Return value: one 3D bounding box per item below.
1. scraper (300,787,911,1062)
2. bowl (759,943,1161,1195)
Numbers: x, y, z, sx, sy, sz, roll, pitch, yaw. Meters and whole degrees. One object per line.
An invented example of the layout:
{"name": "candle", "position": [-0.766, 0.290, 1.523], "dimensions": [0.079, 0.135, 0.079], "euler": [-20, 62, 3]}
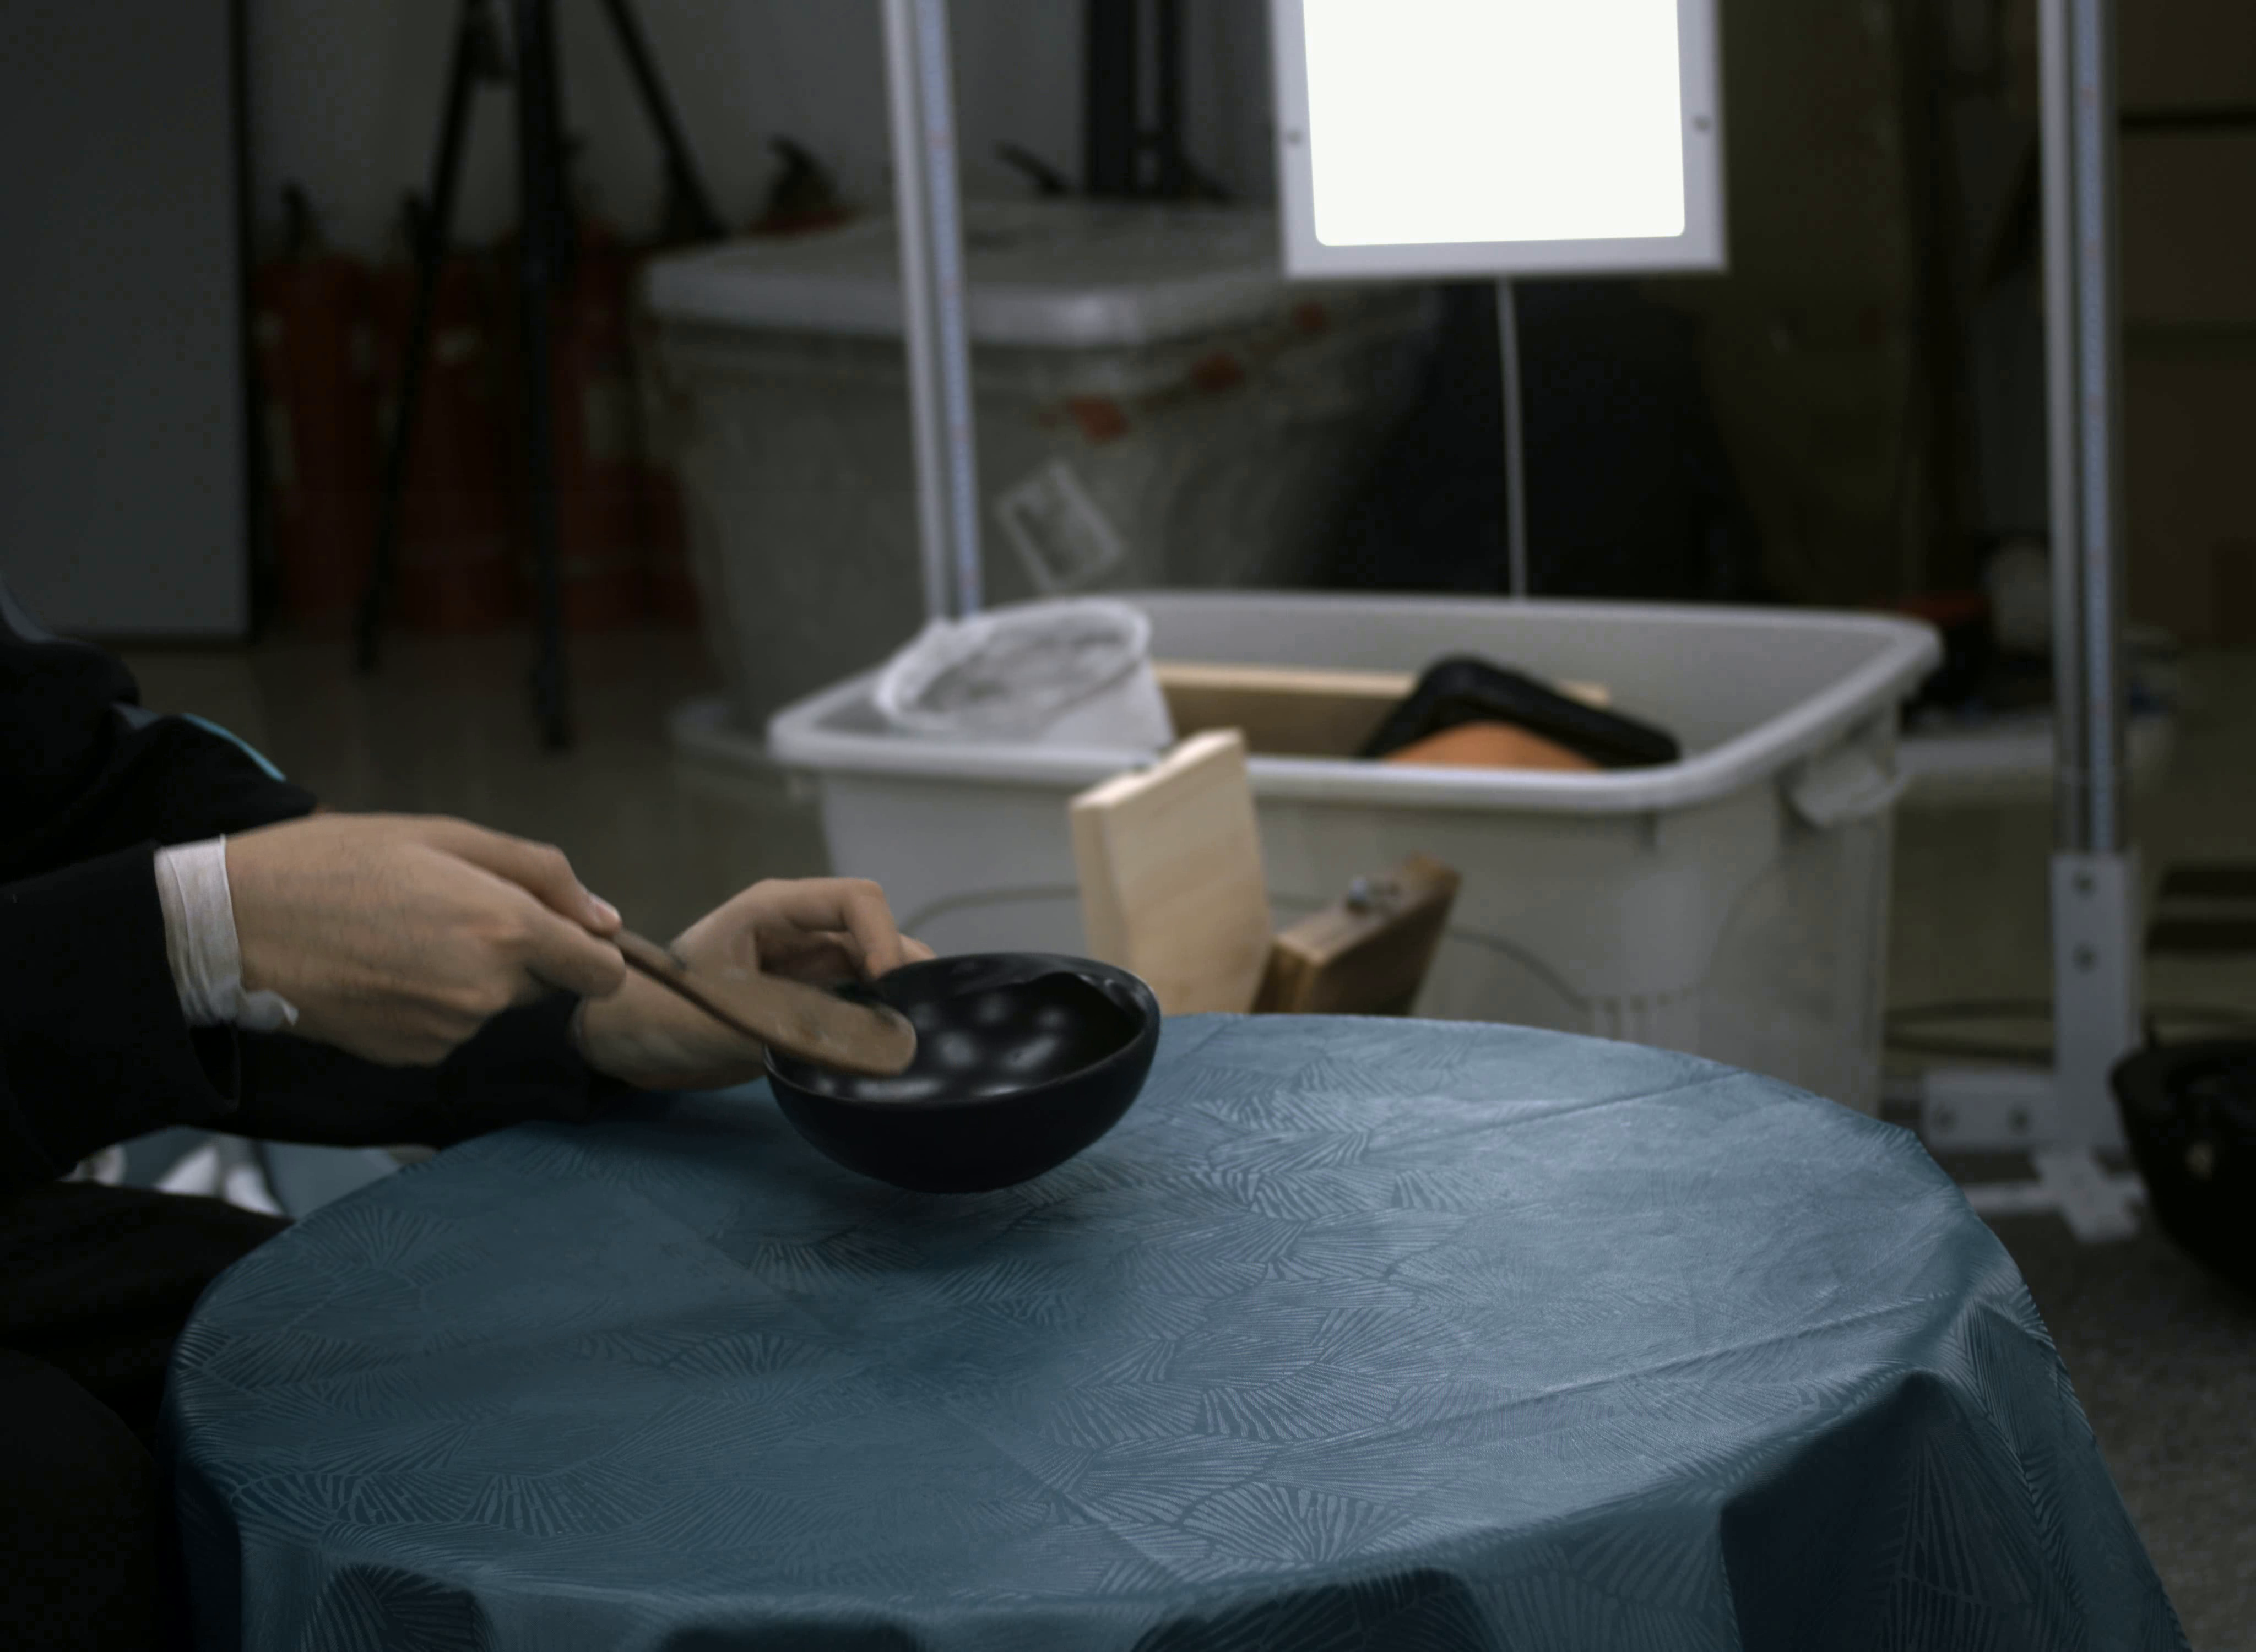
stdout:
{"name": "scraper", "position": [-0.169, 0.031, 1.780], "dimensions": [0.210, 0.011, 0.075], "euler": [23, 11, -1]}
{"name": "bowl", "position": [-0.055, 0.090, 1.901], "dimensions": [0.140, 0.050, 0.140], "euler": [-8, 22, 2]}
